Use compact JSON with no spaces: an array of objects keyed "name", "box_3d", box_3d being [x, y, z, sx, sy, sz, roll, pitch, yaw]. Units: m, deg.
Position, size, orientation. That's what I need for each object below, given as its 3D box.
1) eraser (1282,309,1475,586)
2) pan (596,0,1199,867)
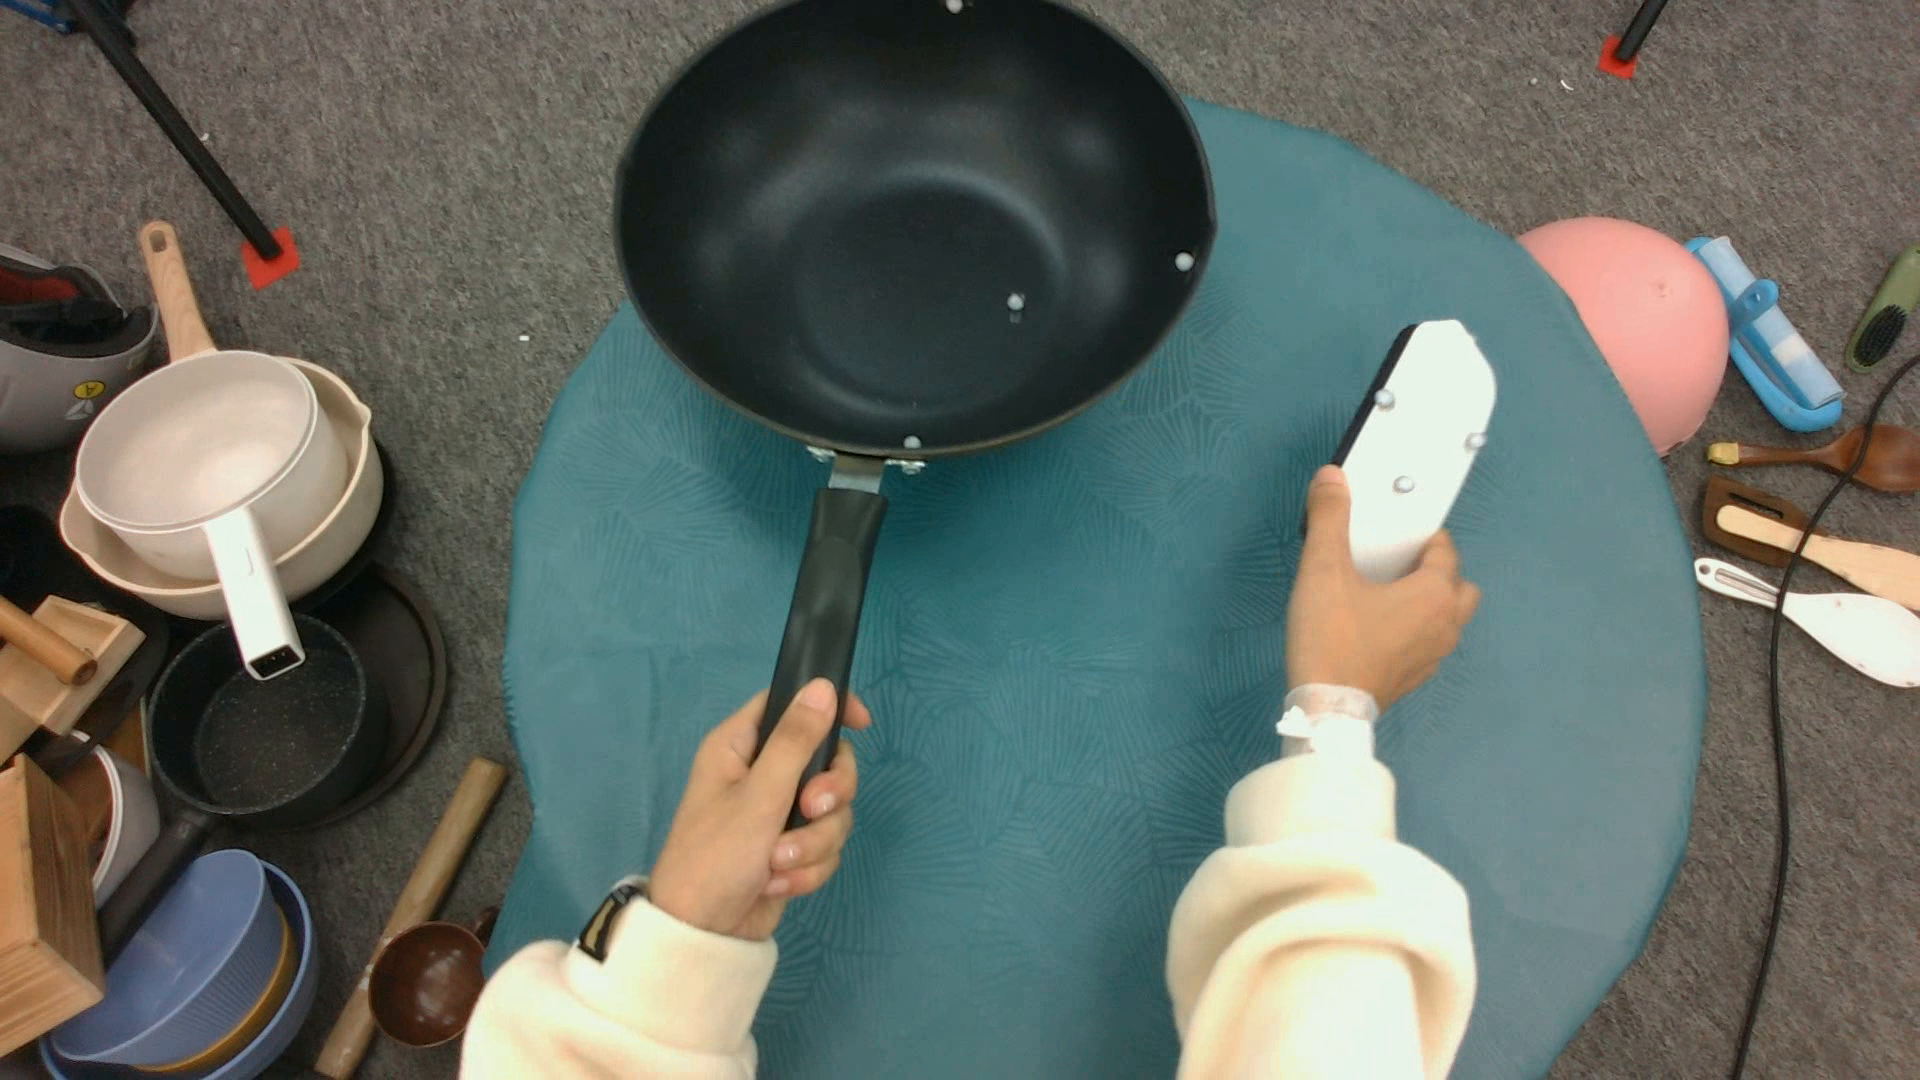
[{"name":"eraser","box_3d":[0.202,-0.045,0.657,0.063,0.034,0.131,38,75,-34]},{"name":"pan","box_3d":[-0.044,-0.073,0.649,0.288,0.086,0.465,8,67,4]}]
